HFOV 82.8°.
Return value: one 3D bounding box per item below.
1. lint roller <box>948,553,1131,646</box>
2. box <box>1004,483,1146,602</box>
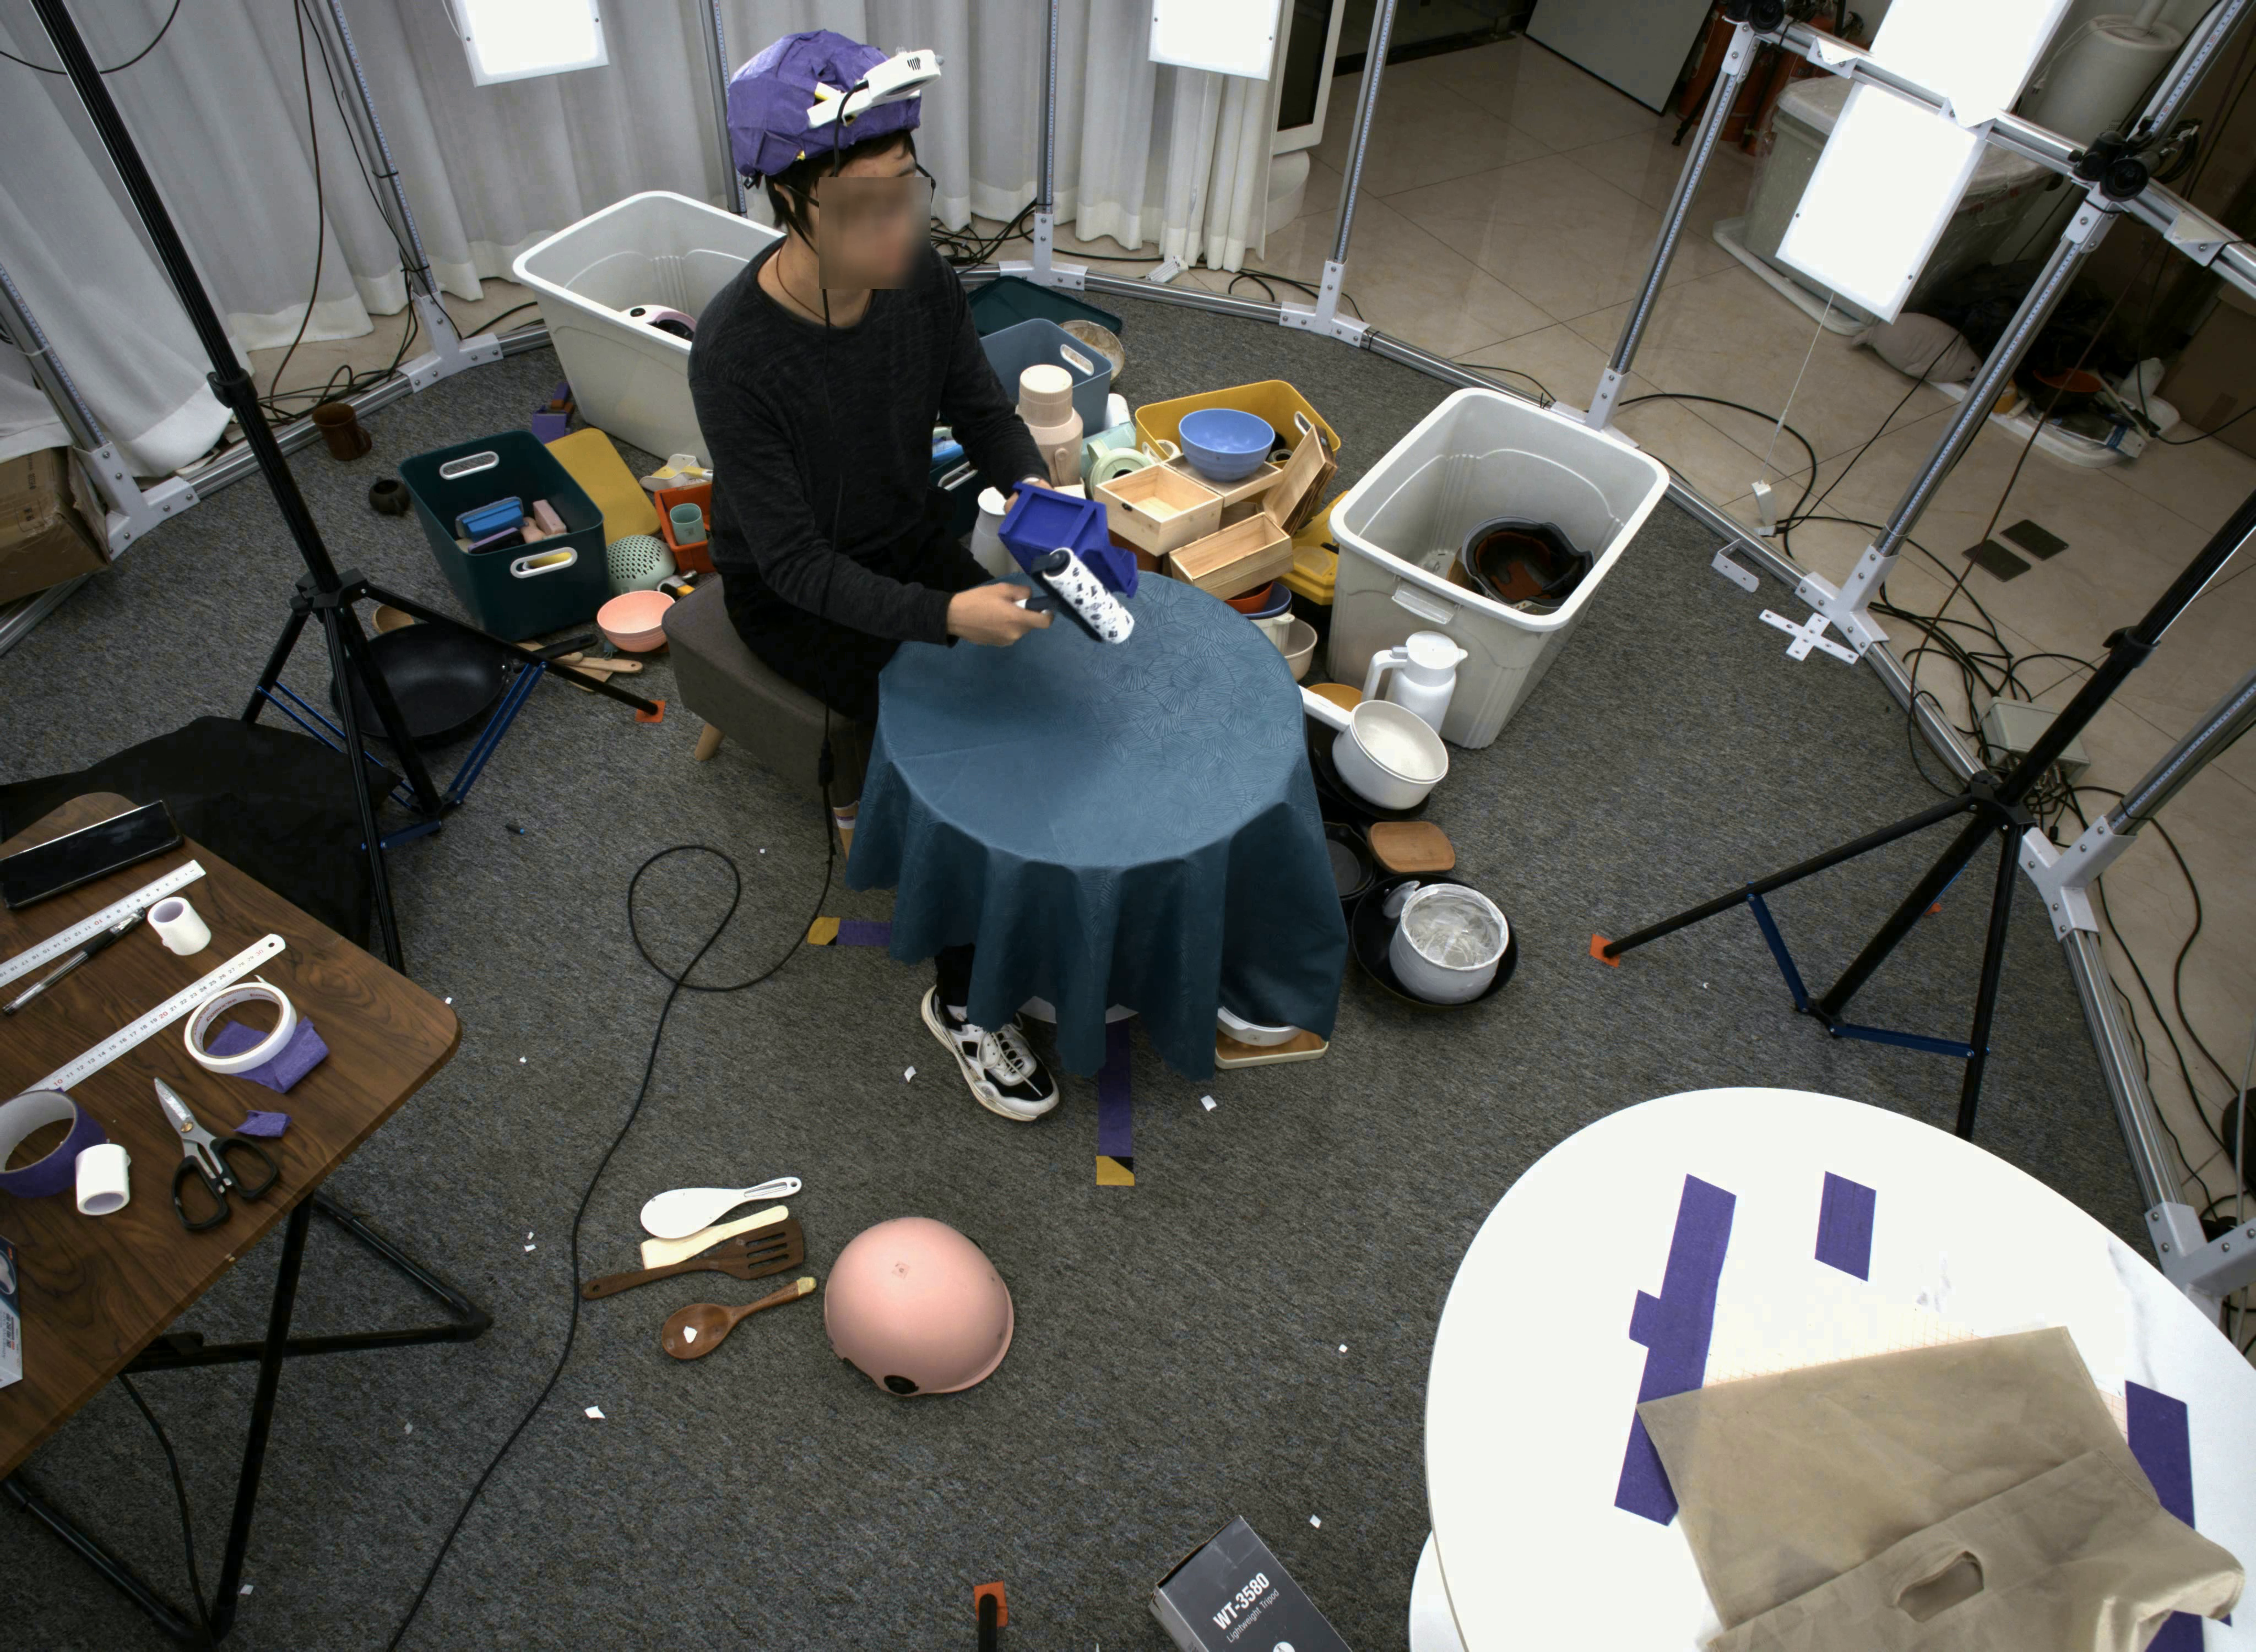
[{"bbox_3d":[-0.139,-0.282,1.721,0.247,0.173,0.051,-8,63,31],"label":"lint roller"},{"bbox_3d":[-0.067,-0.372,1.713,0.181,0.122,0.082,20,74,32],"label":"box"}]
